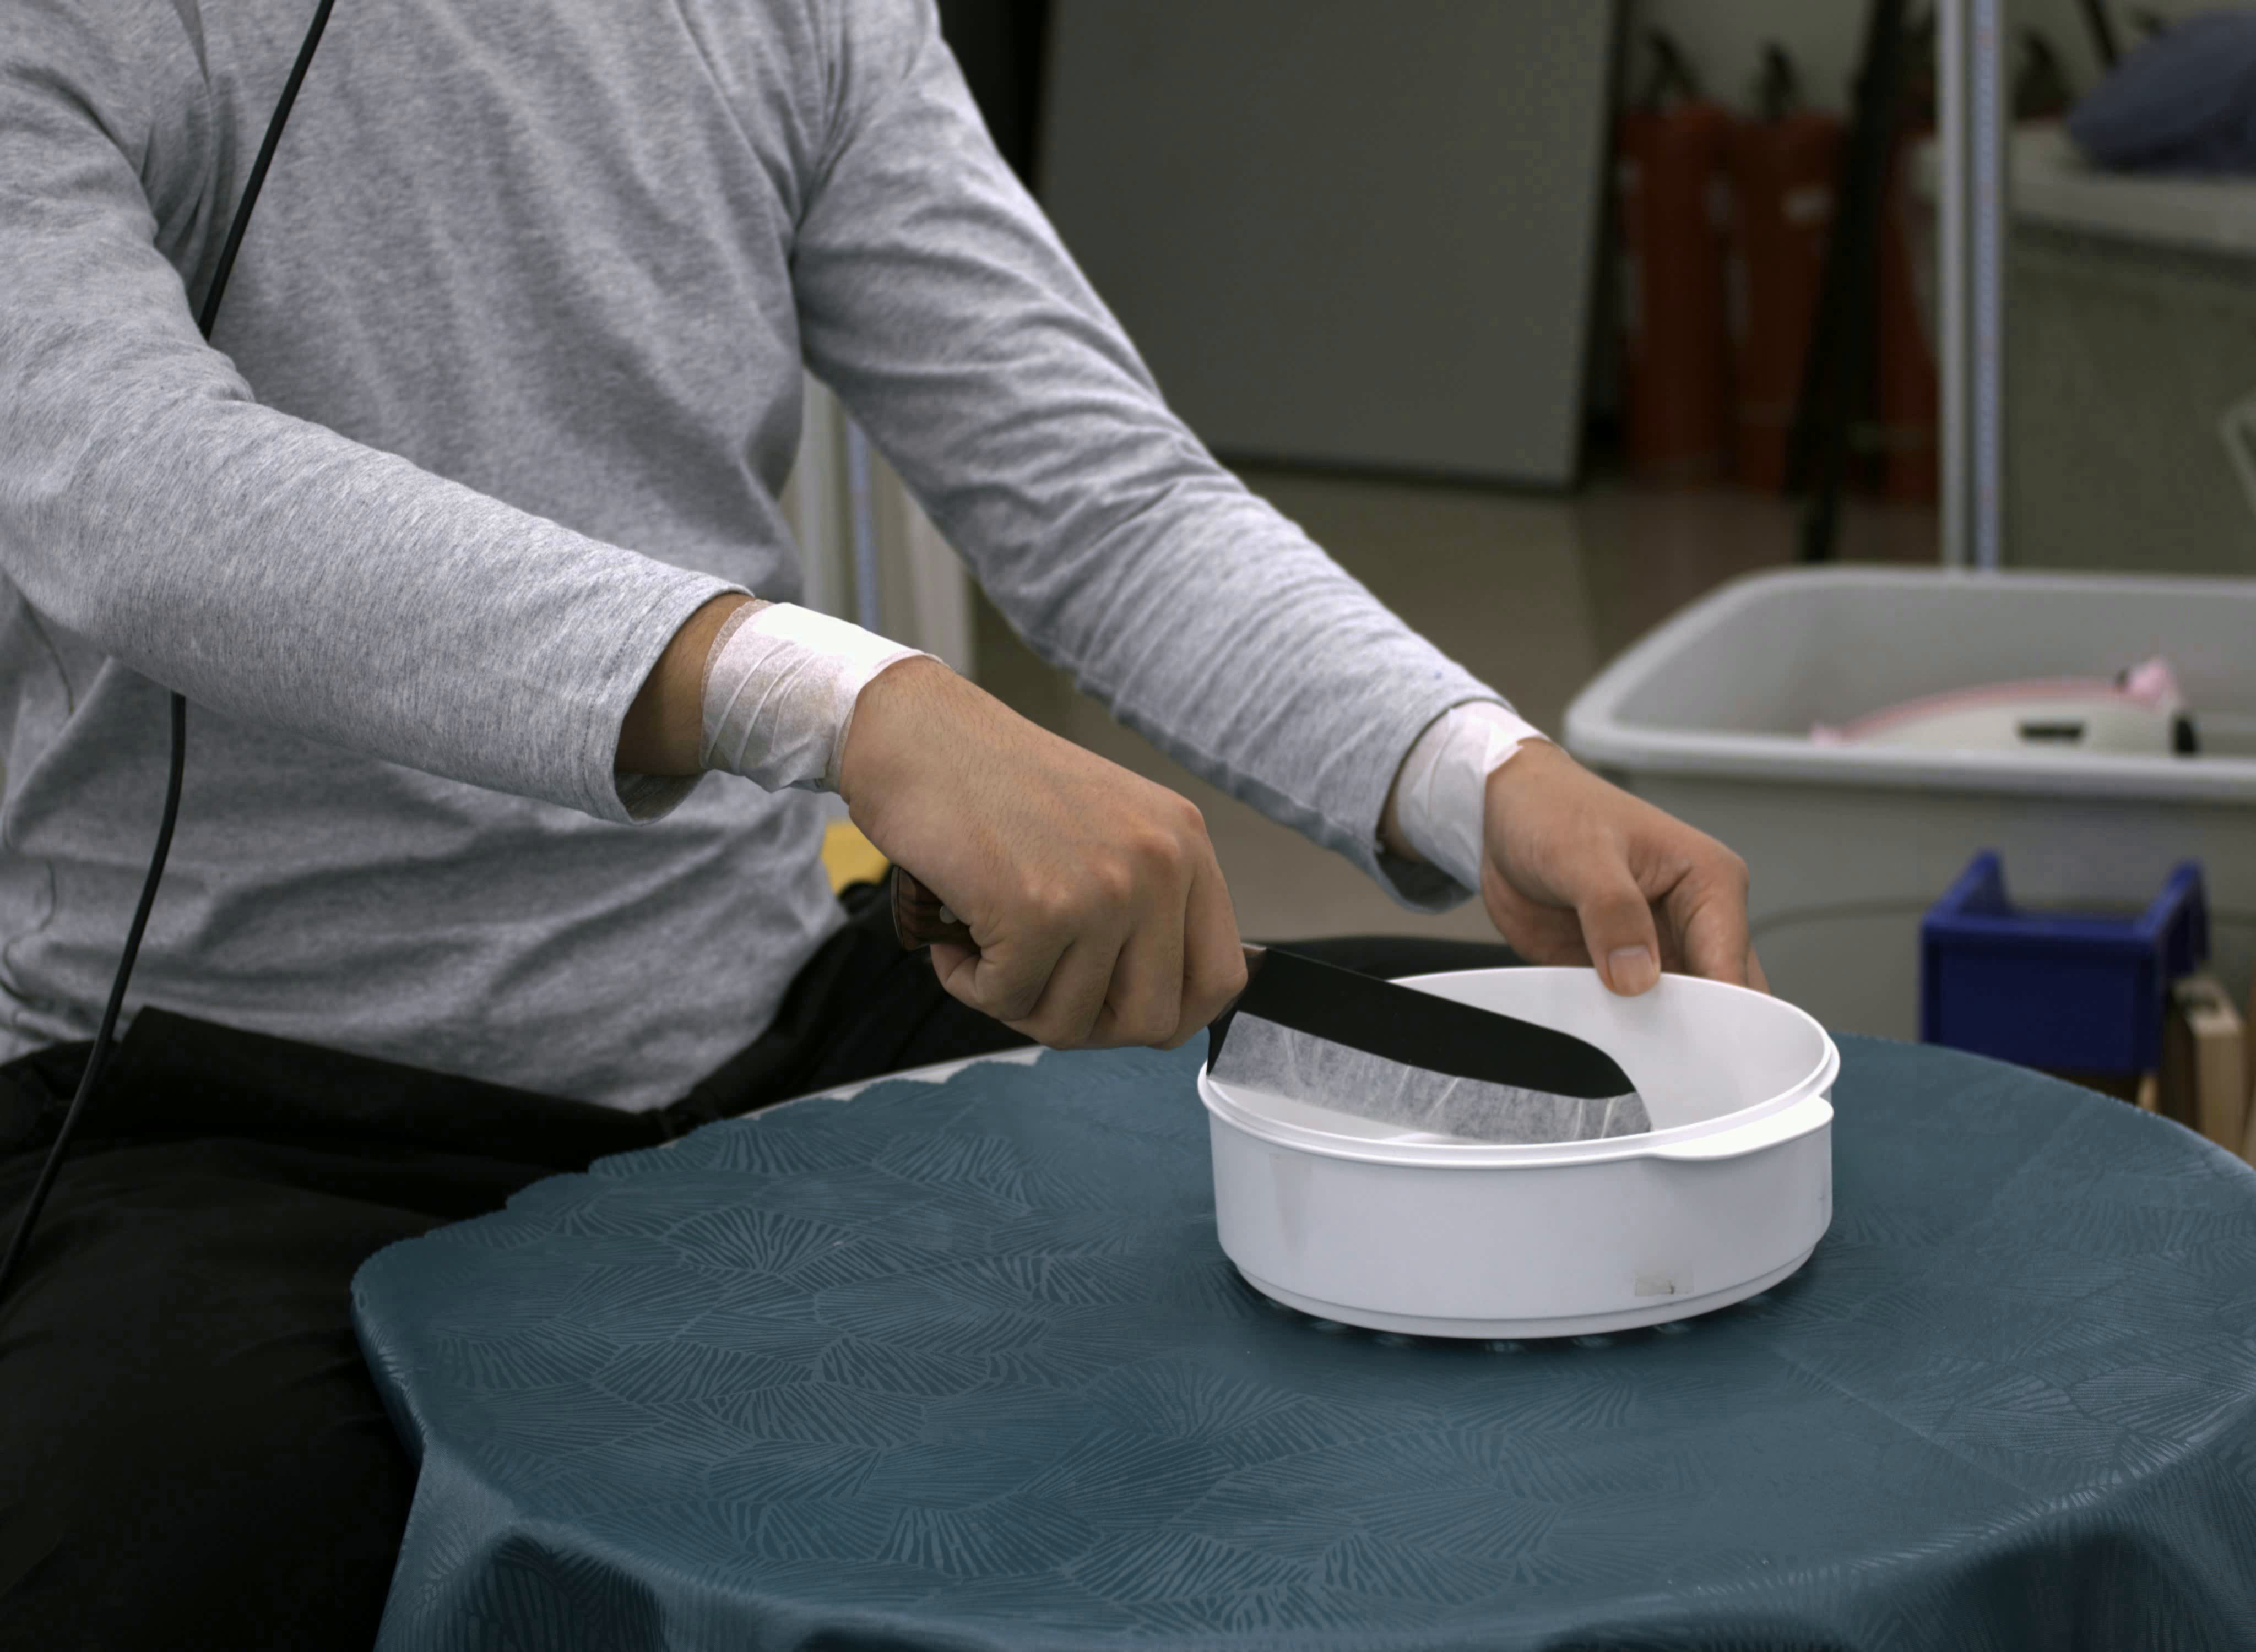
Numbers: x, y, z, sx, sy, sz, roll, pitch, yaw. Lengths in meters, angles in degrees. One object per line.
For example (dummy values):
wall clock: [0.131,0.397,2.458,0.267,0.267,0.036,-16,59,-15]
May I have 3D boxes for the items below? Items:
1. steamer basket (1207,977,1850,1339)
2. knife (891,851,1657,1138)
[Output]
steamer basket: [0.125,0.103,1.671,0.197,0.070,0.233,-13,15,-37]
knife: [0.050,0.056,1.632,0.283,0.051,0.020,19,8,-27]
